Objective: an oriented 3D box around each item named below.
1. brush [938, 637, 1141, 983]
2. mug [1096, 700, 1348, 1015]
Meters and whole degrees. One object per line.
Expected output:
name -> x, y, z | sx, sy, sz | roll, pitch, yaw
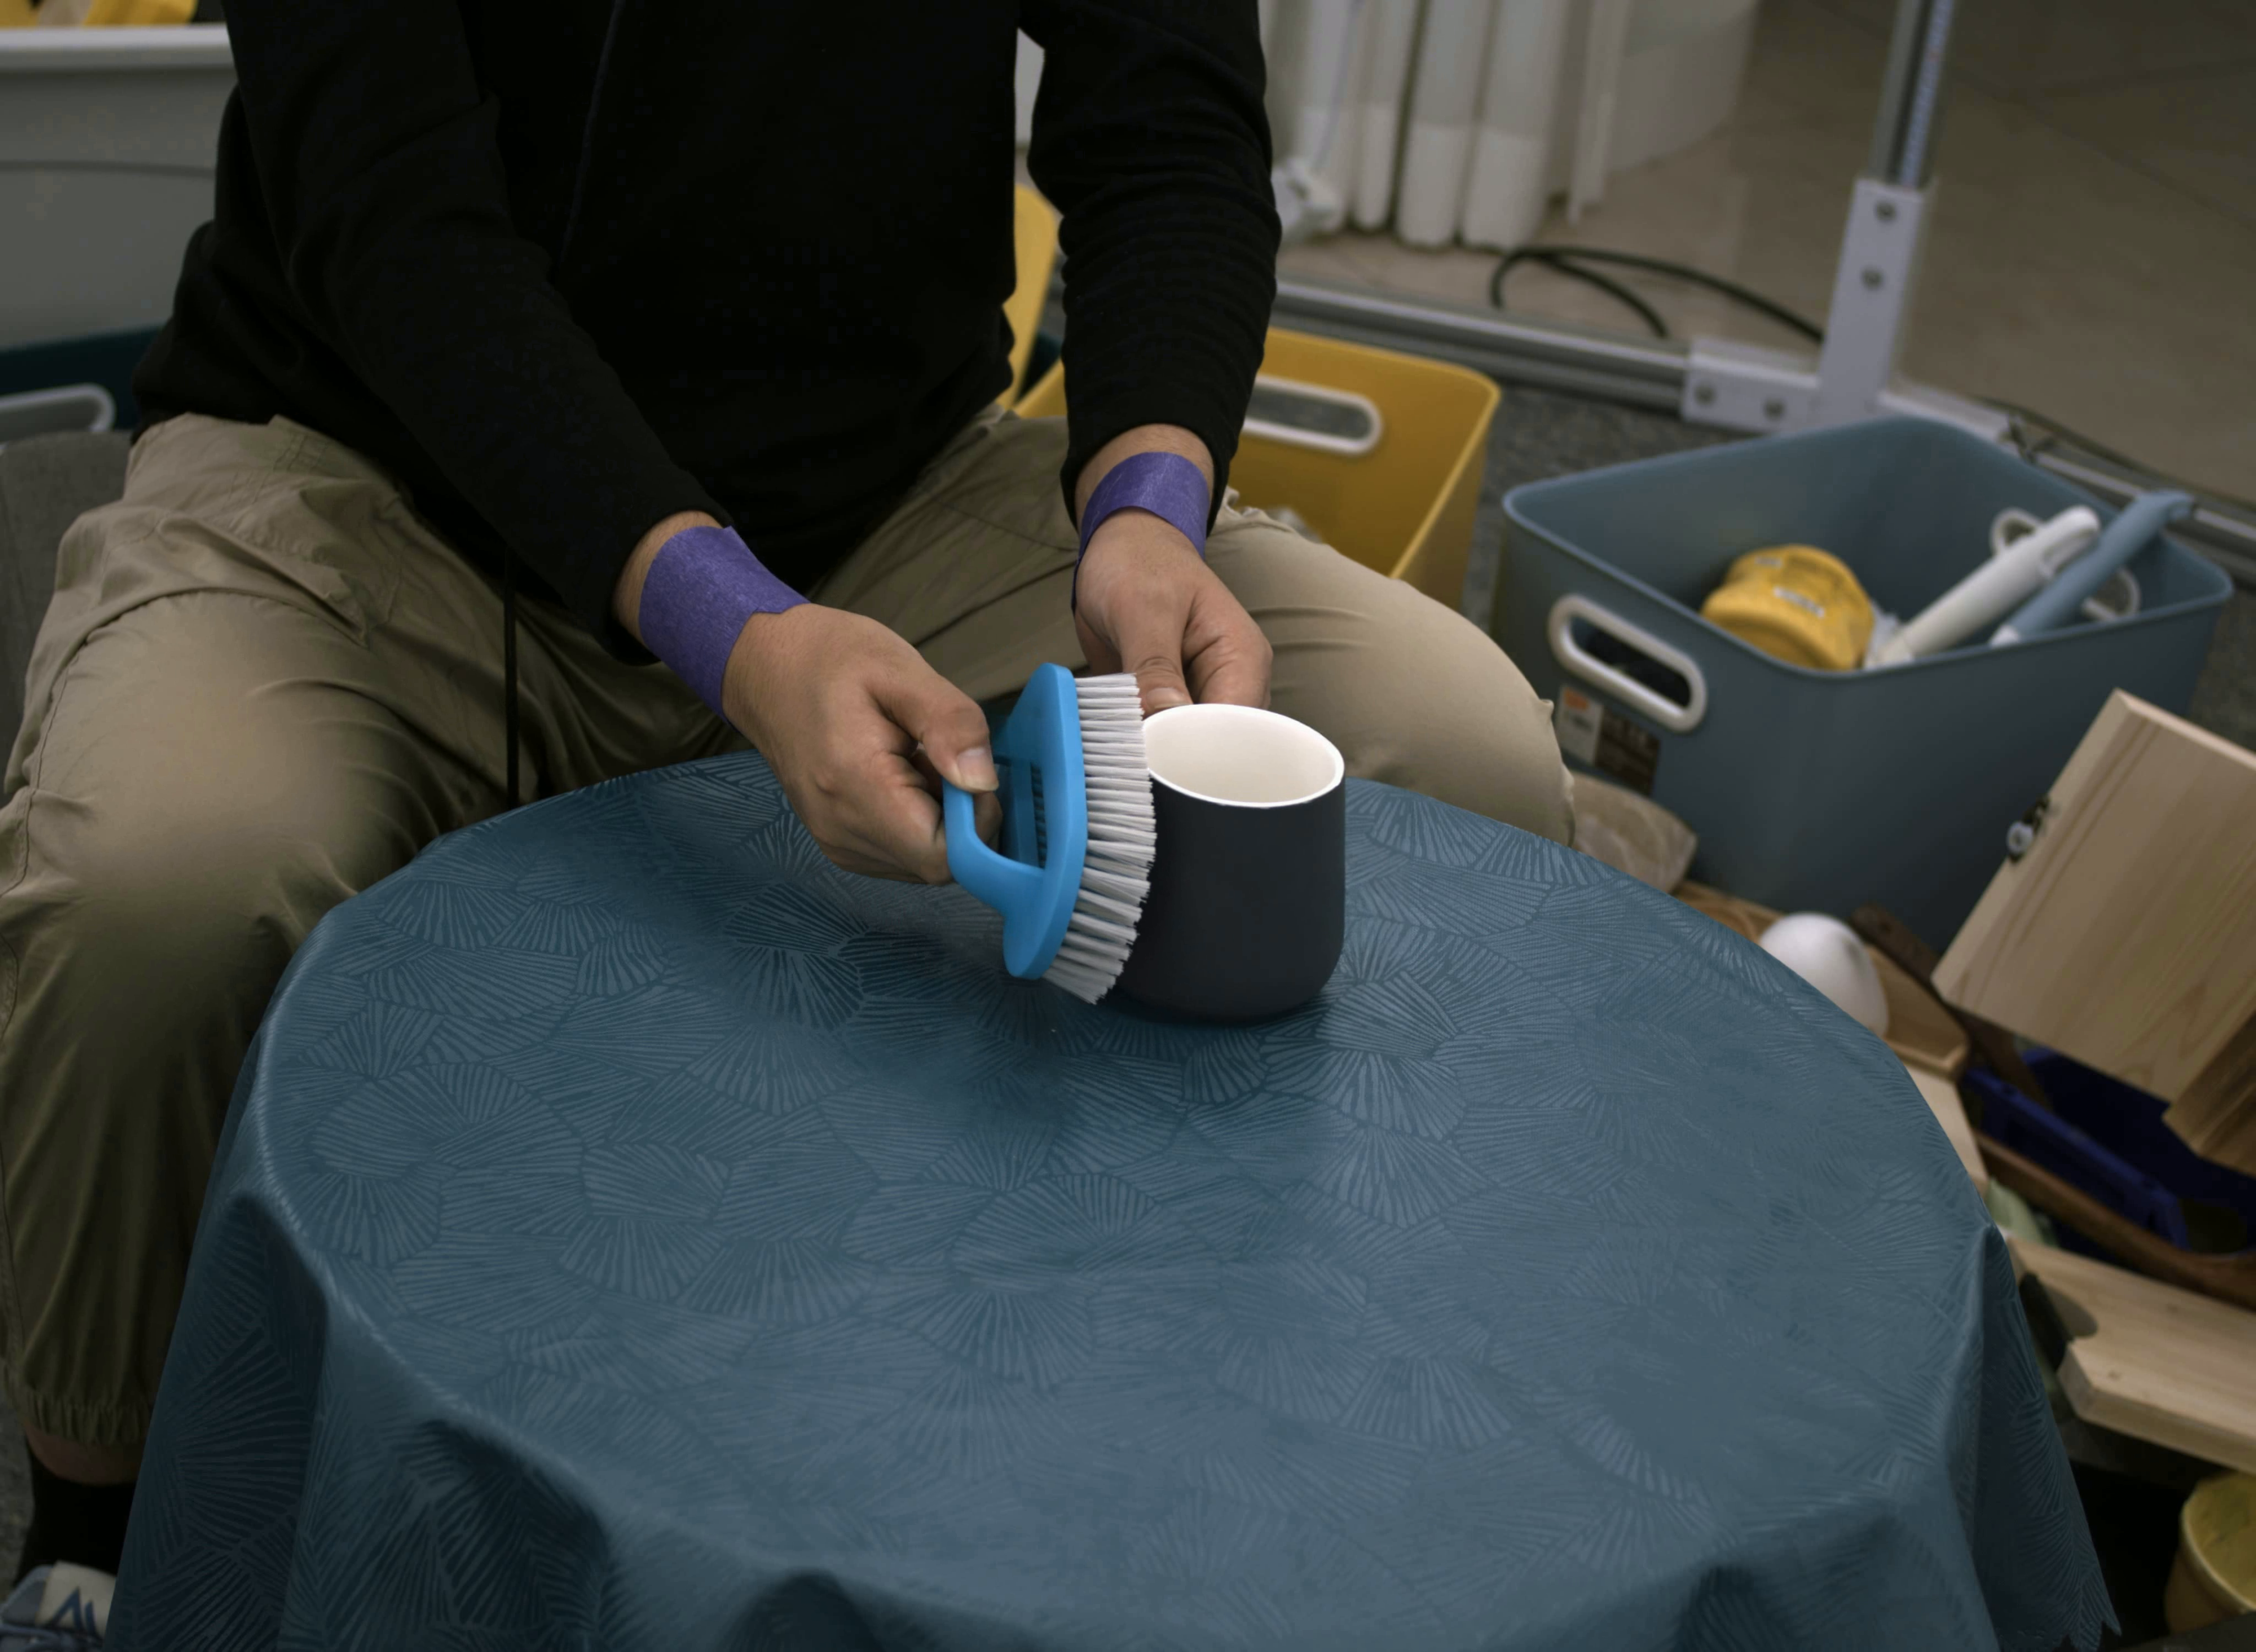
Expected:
brush -> -0.035, -0.007, 1.886 | 0.063, 0.084, 0.143 | 12, 39, -12
mug -> 0.030, 0.005, 1.937 | 0.093, 0.089, 0.124 | -2, 30, -19
